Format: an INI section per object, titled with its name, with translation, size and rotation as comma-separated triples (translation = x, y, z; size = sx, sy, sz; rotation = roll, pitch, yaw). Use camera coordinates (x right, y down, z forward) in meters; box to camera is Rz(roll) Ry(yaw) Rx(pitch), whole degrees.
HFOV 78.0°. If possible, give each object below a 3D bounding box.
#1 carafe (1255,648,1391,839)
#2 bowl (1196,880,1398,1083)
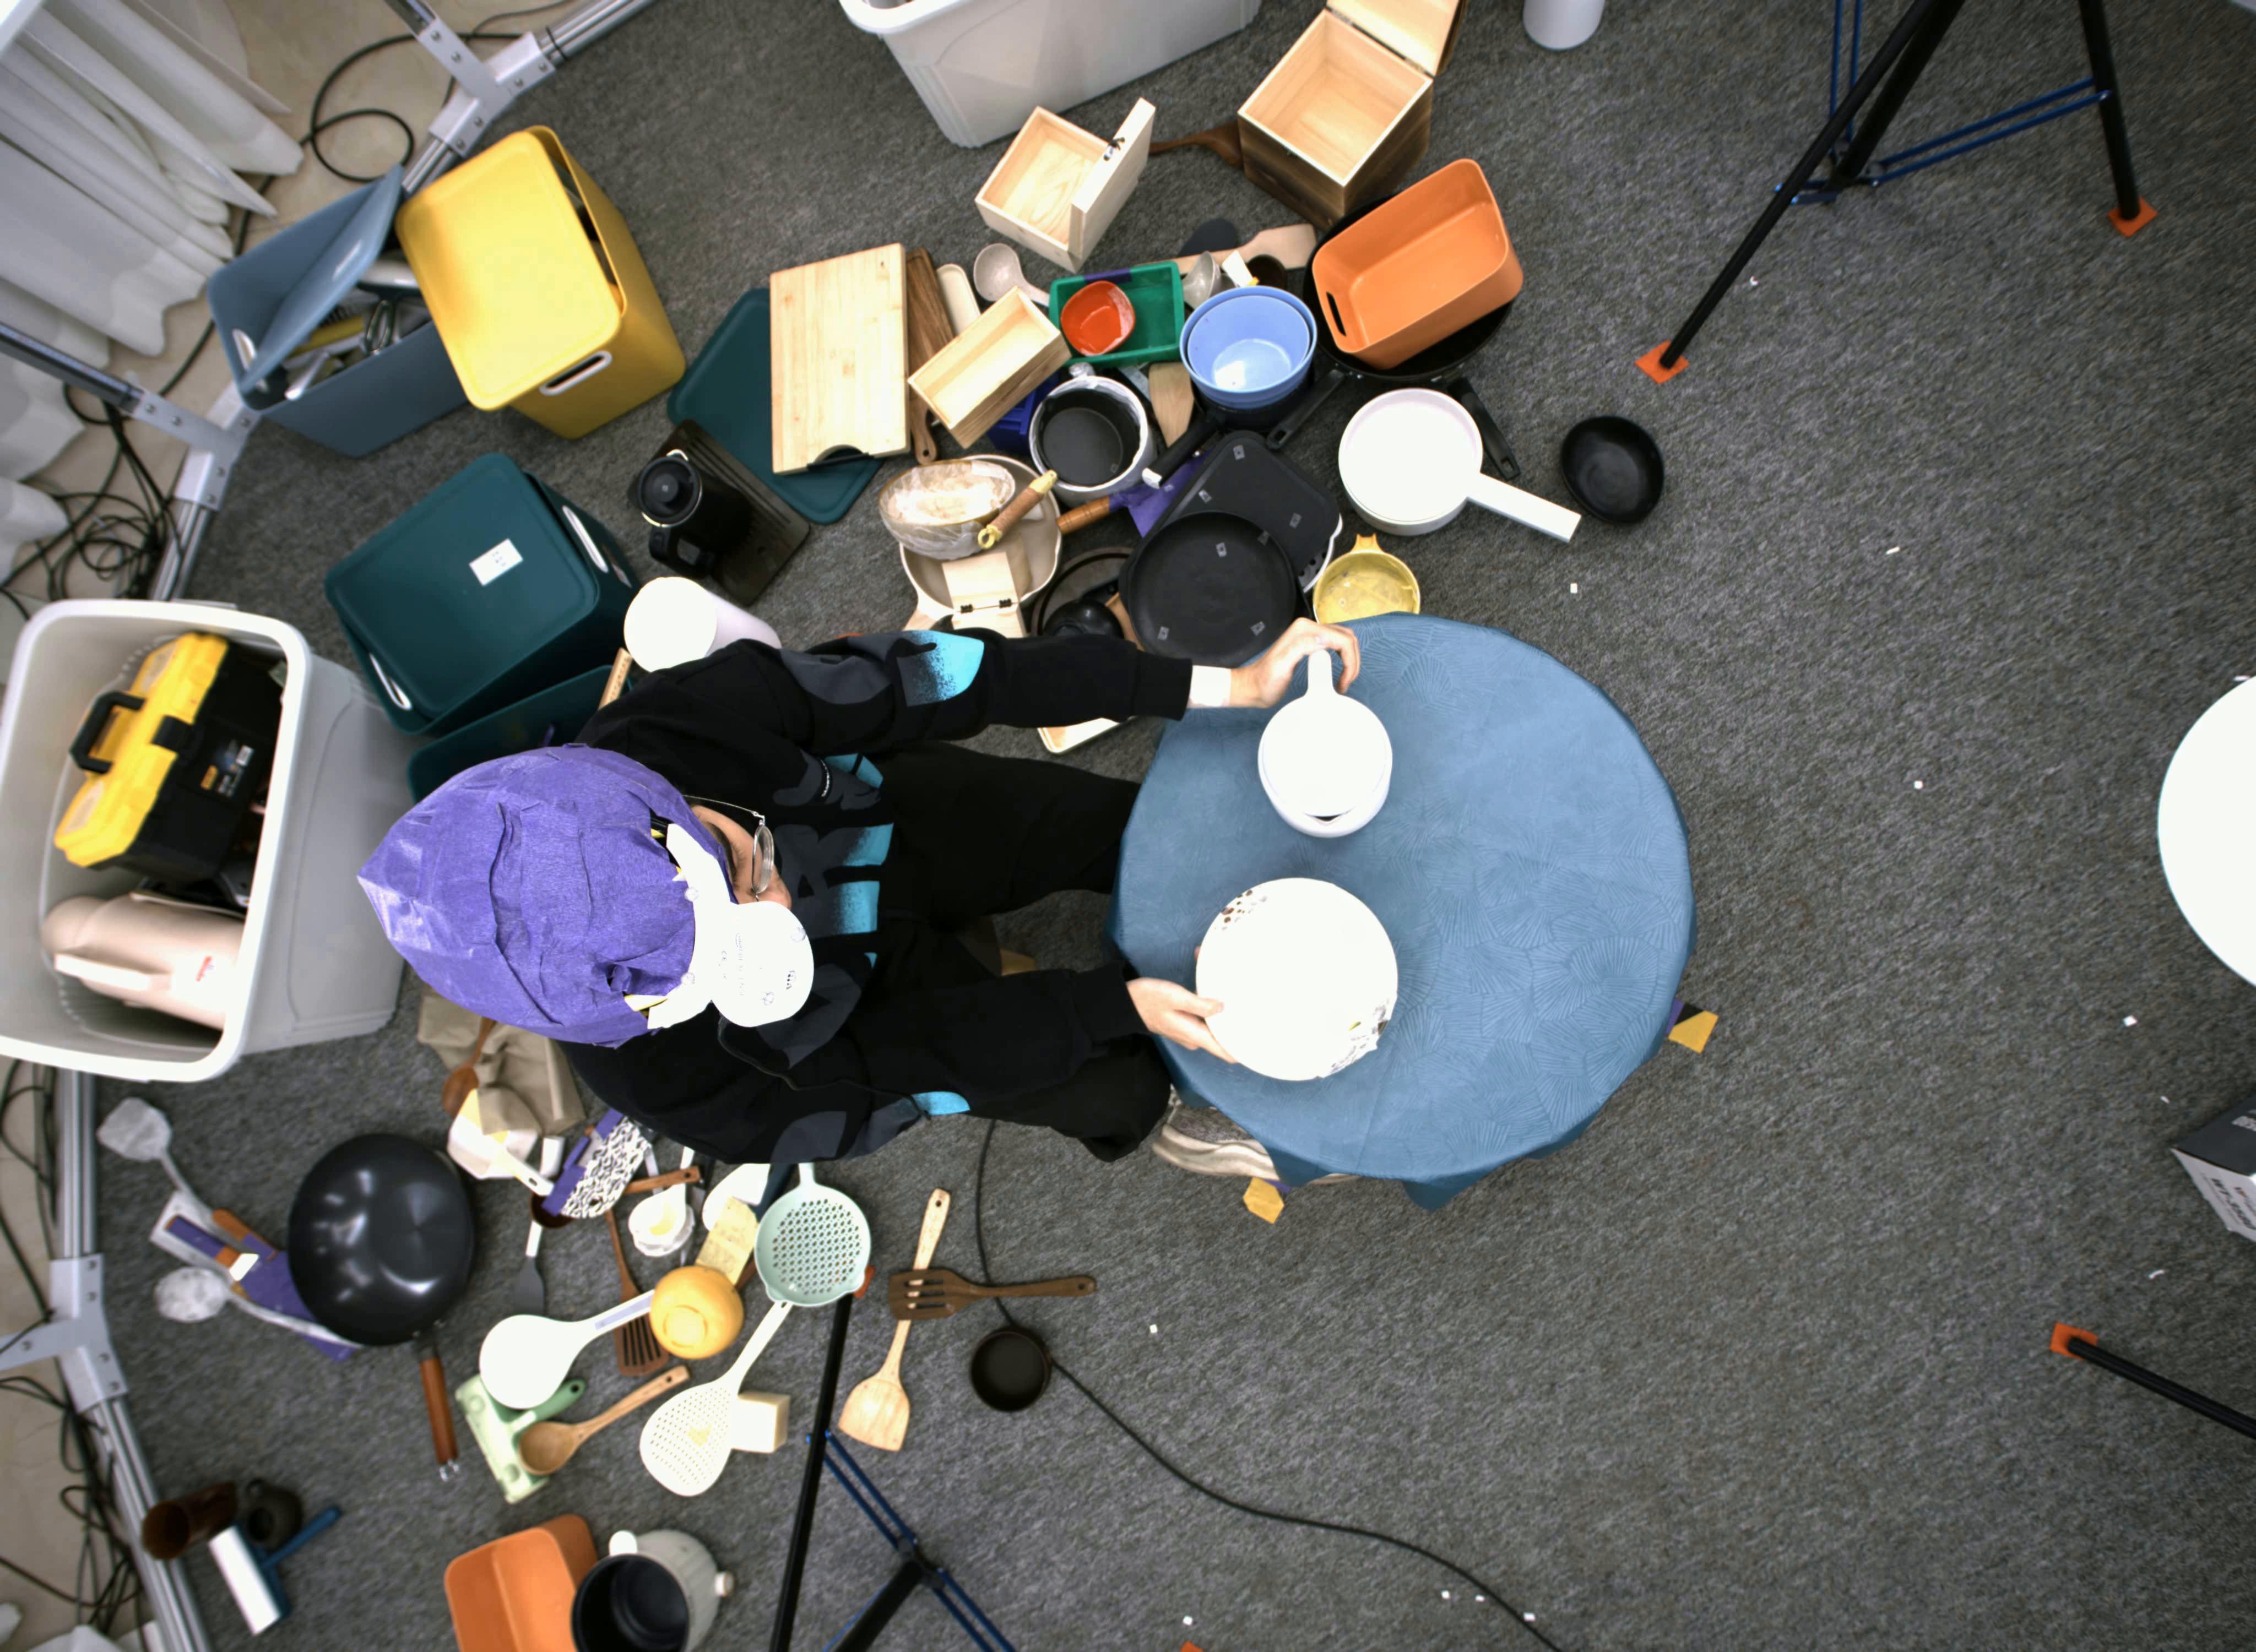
[carafe]
translation = 0.195, -0.085, 1.391
size = 0.133, 0.183, 0.190
rotation = -5, 83, 8
[bowl]
translation = 0.176, 0.159, 1.427
size = 0.205, 0.078, 0.203
rotation = -1, 86, 12
